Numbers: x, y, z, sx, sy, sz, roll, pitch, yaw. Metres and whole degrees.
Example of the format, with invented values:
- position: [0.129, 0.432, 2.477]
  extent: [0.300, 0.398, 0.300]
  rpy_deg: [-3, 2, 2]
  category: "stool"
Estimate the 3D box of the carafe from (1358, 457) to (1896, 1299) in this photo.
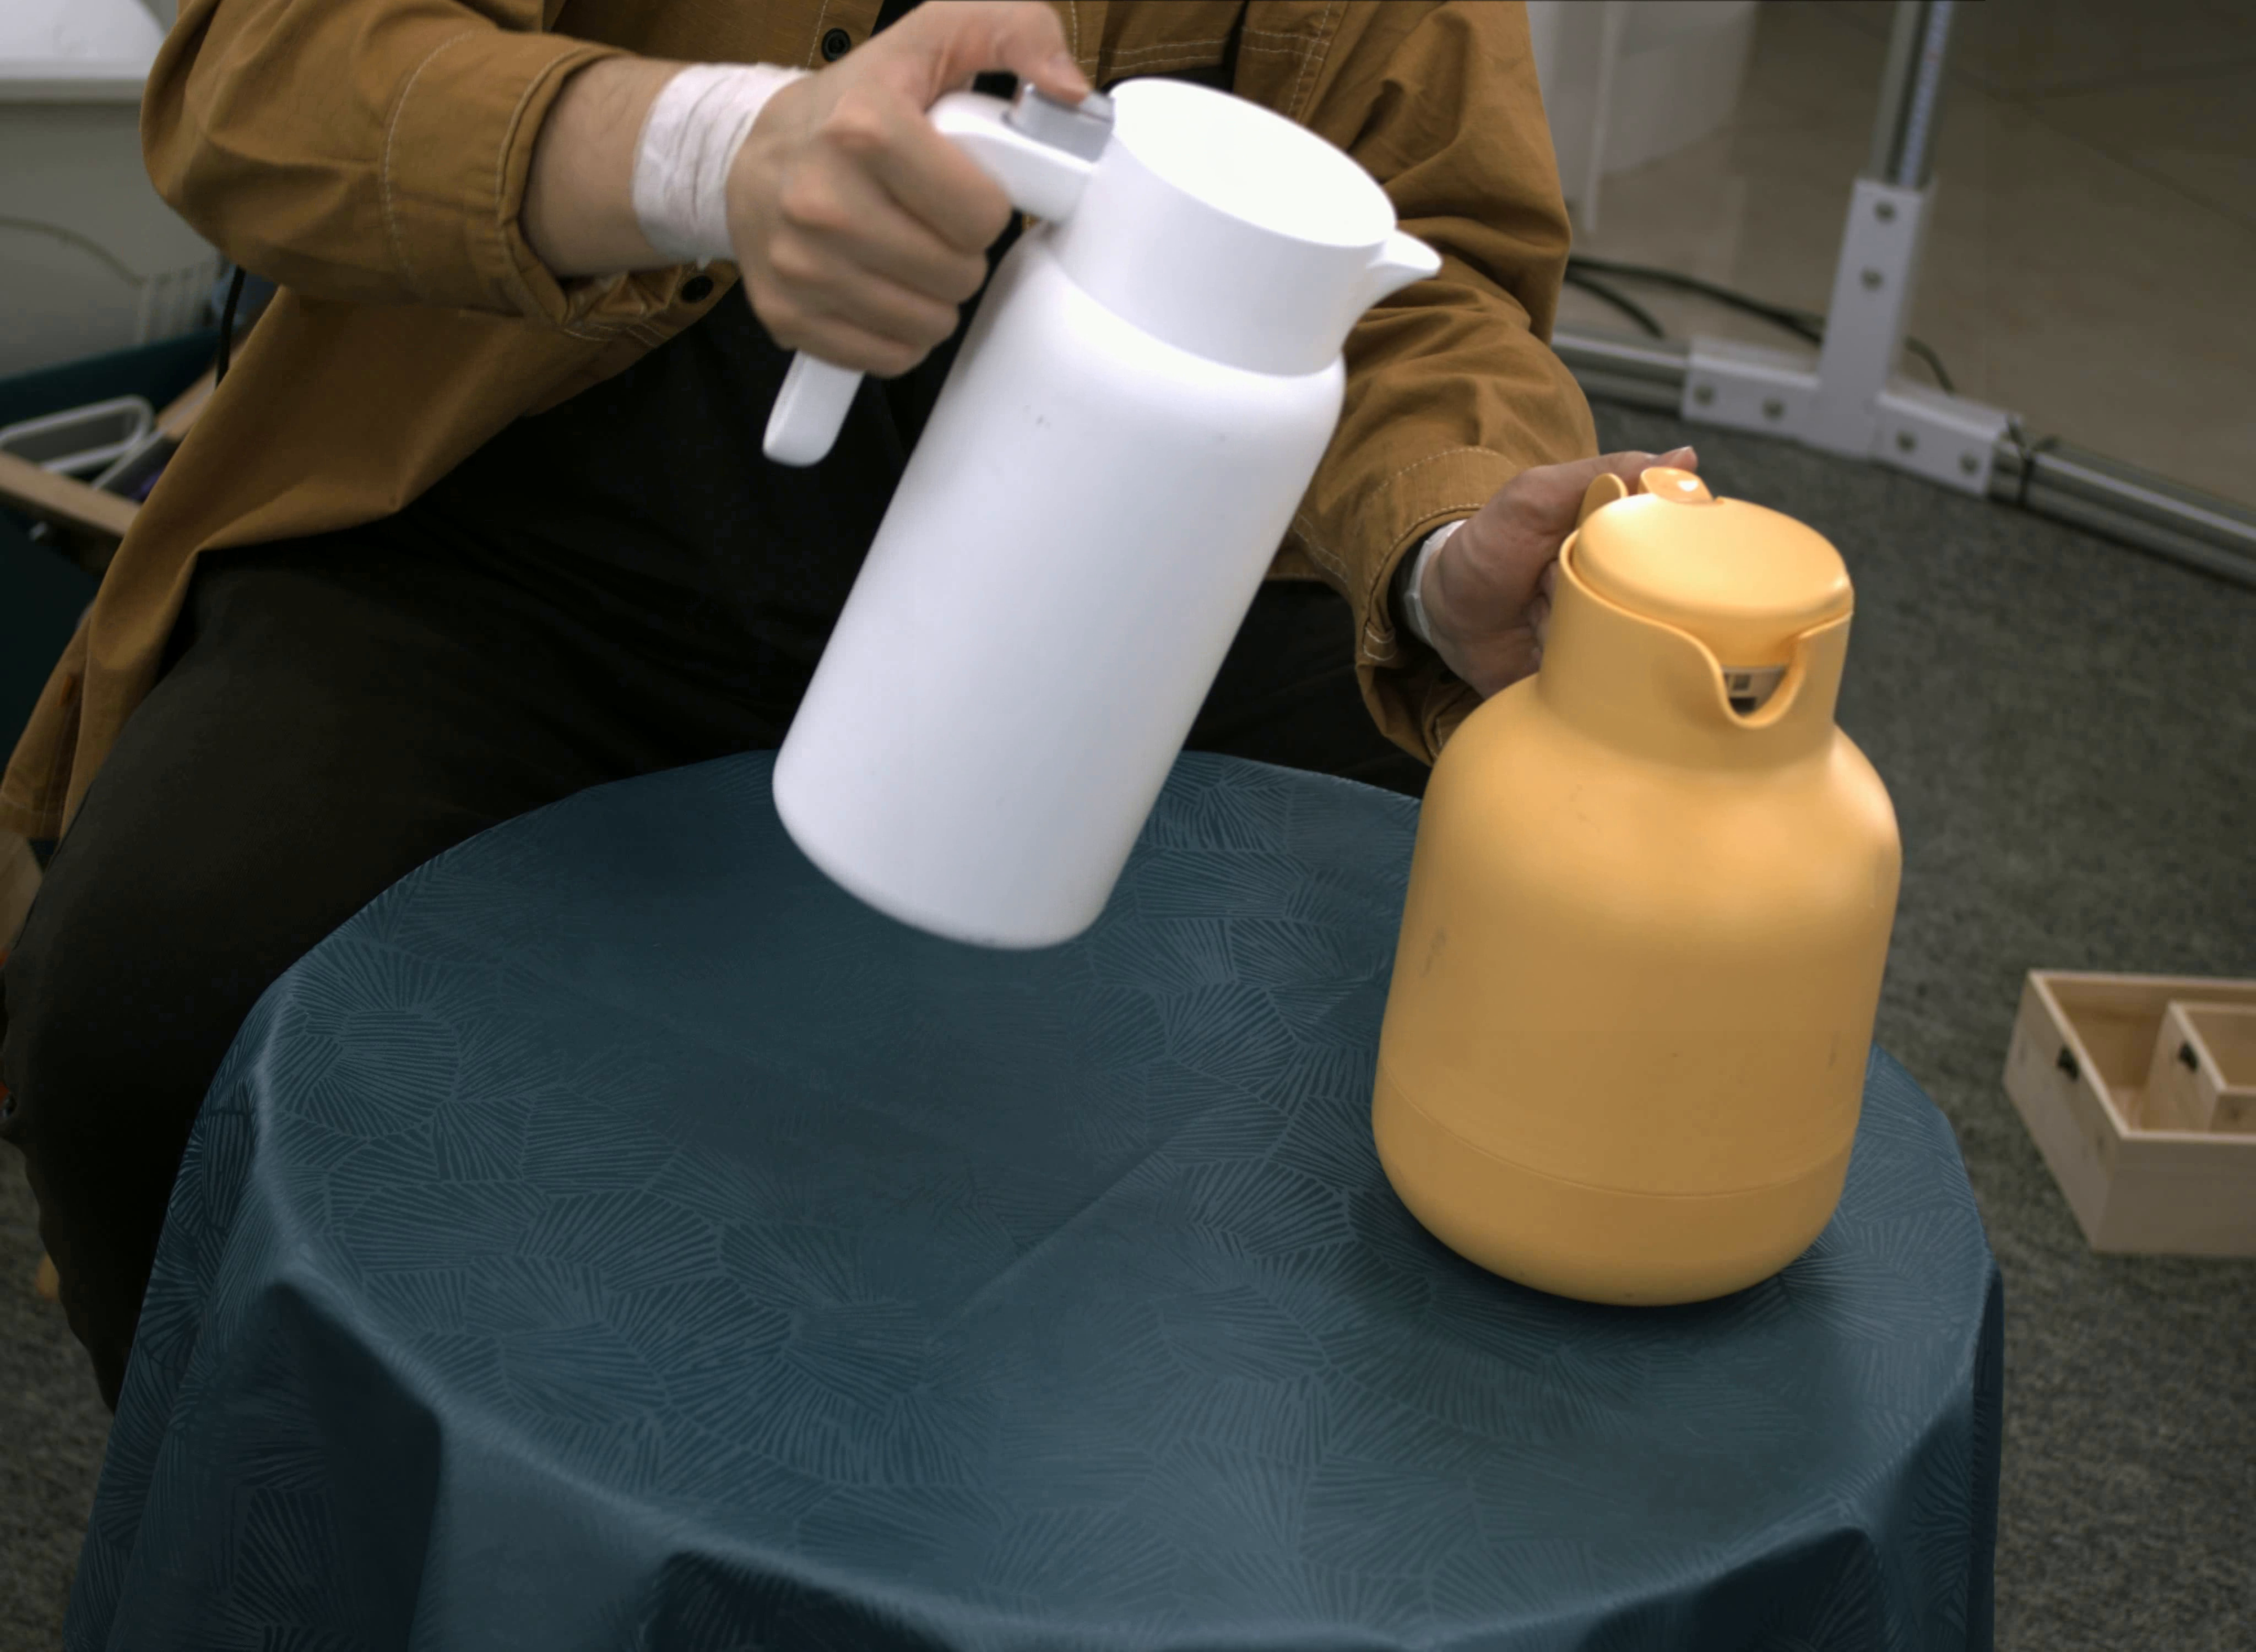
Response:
- position: [0.171, 0.008, 1.781]
  extent: [0.162, 0.259, 0.204]
  rpy_deg: [6, 28, -9]
  category: "carafe"

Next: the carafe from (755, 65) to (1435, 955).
- position: [-0.032, -0.102, 1.676]
  extent: [0.172, 0.268, 0.124]
  rpy_deg: [19, 28, -11]
  category: "carafe"
